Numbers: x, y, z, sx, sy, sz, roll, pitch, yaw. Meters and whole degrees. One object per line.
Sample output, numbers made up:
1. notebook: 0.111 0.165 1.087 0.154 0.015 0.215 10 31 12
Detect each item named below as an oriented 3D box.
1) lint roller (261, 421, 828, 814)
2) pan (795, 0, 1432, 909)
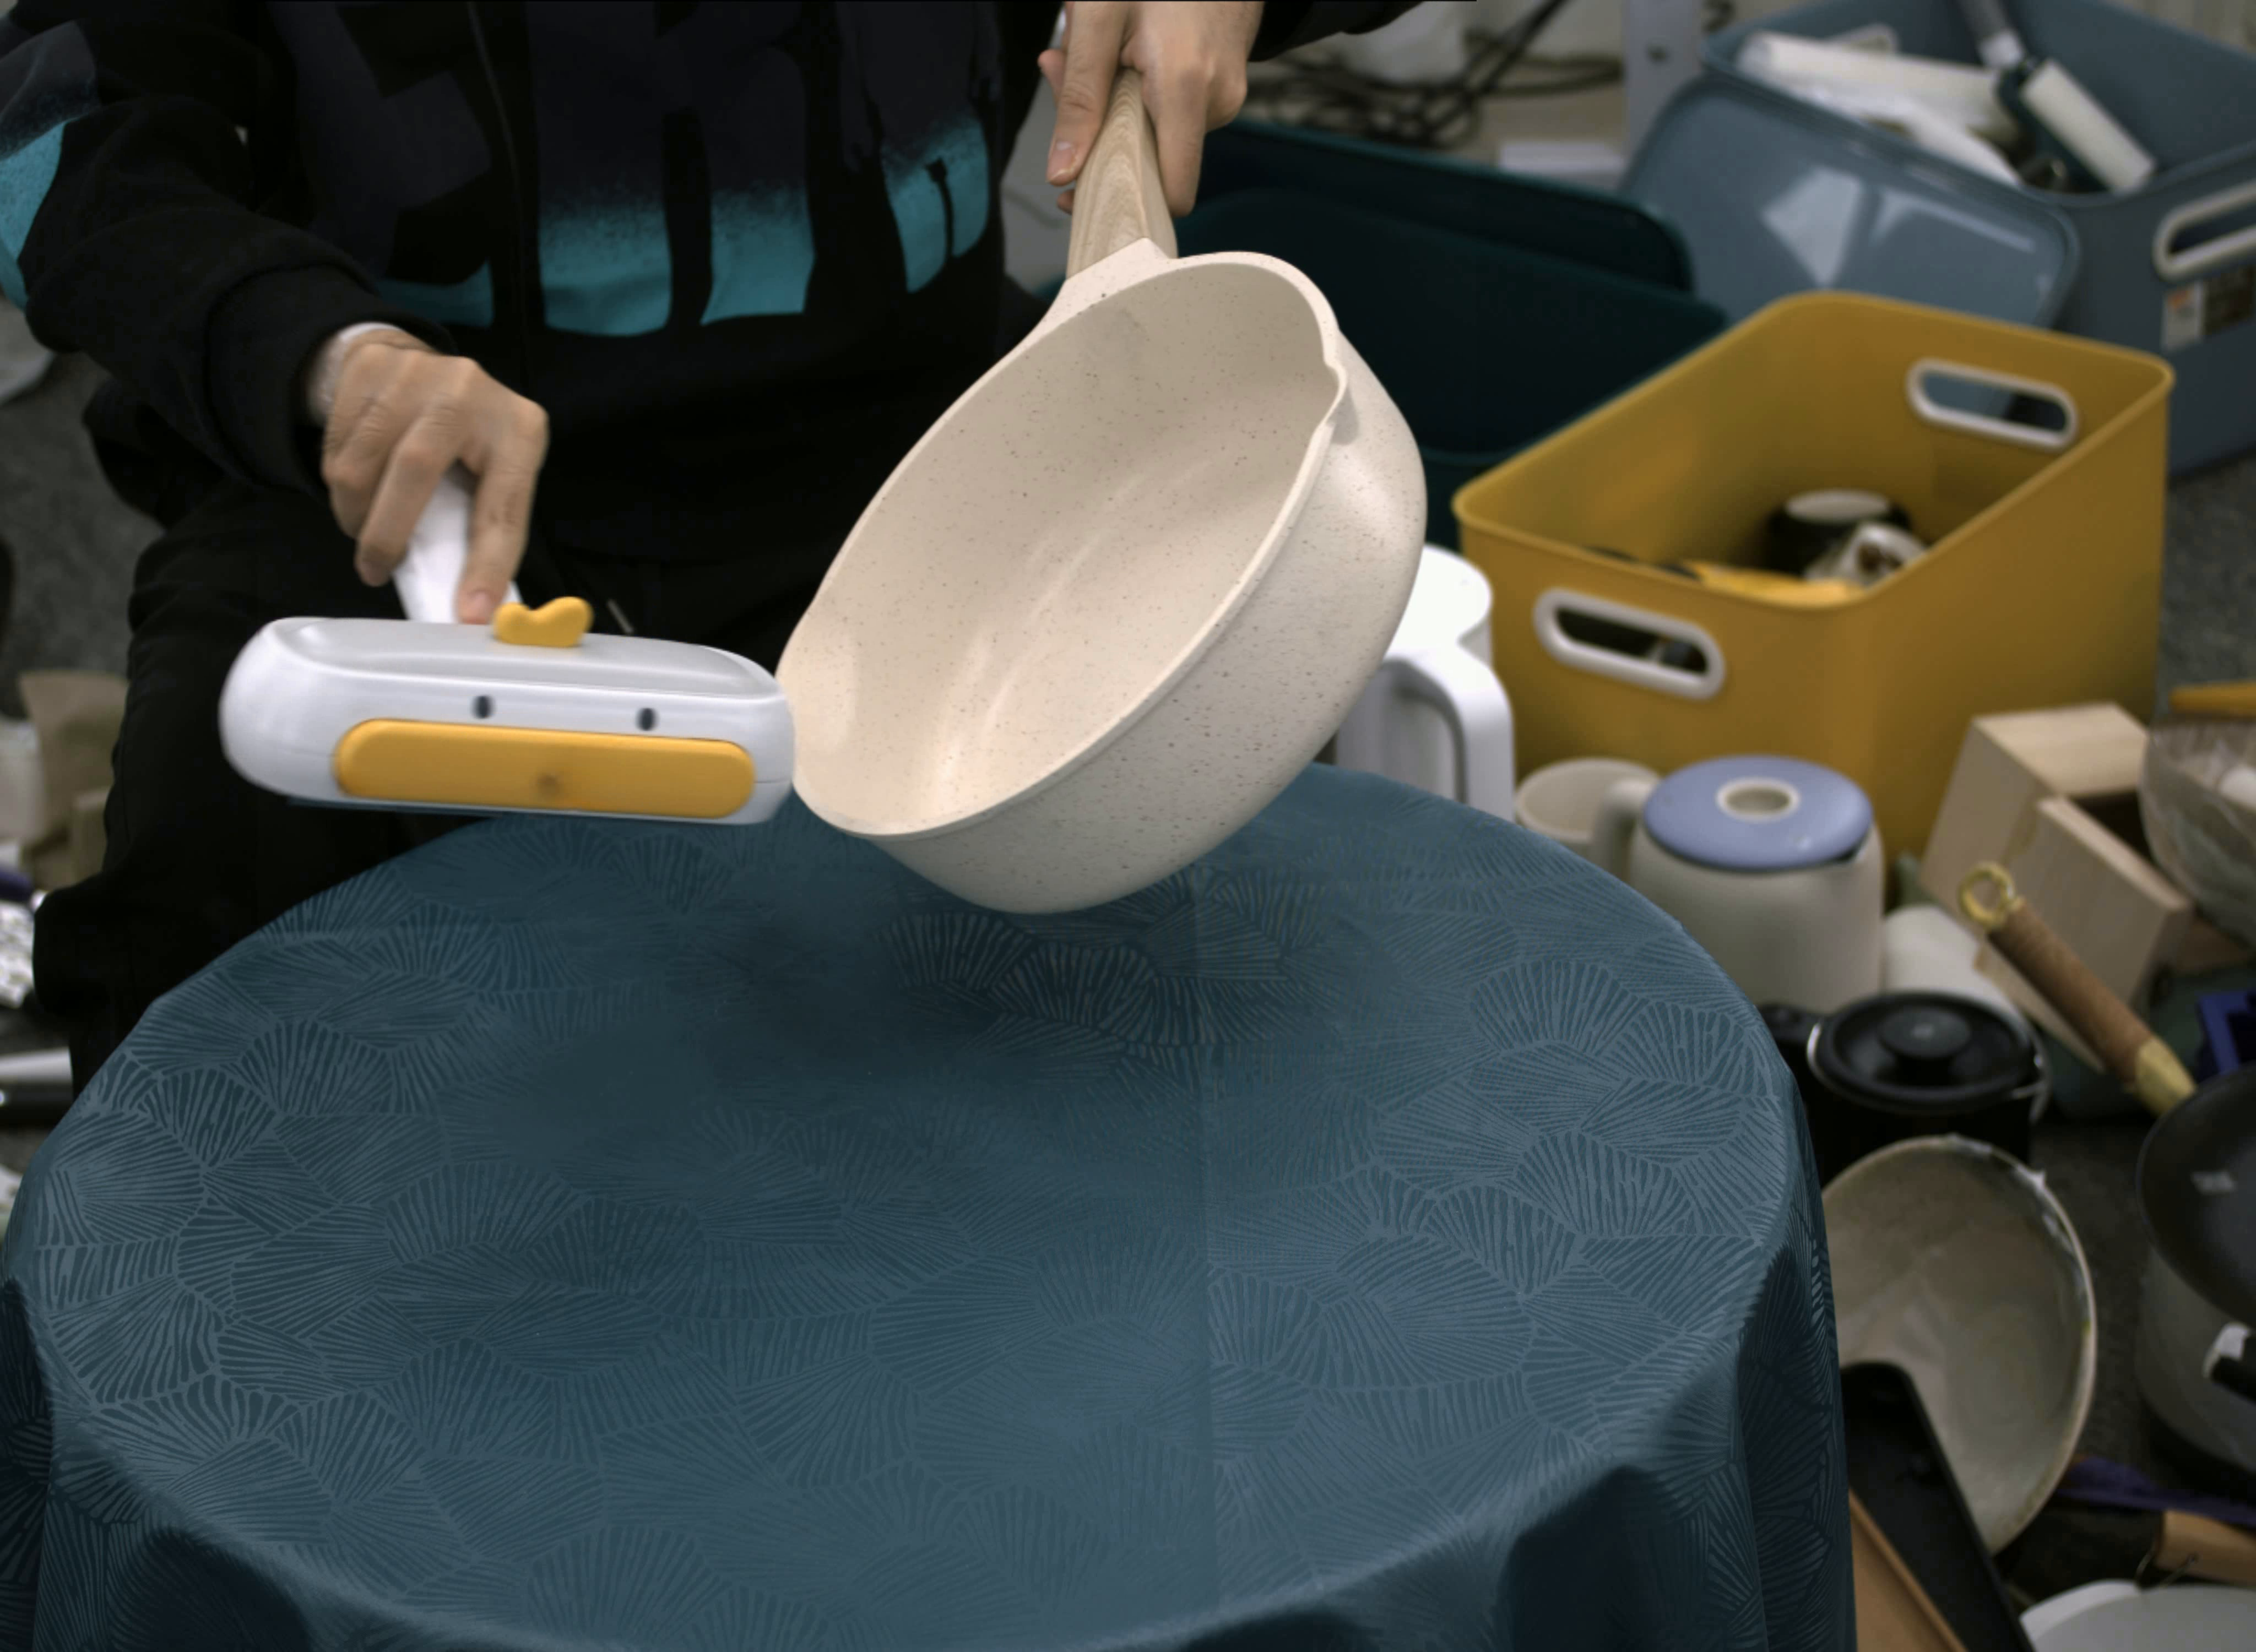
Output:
1. lint roller: -0.214 -0.069 1.879 0.193 0.073 0.194 -2 30 -31
2. pan: 0.007 -0.150 2.015 0.259 0.101 0.444 -29 35 32
